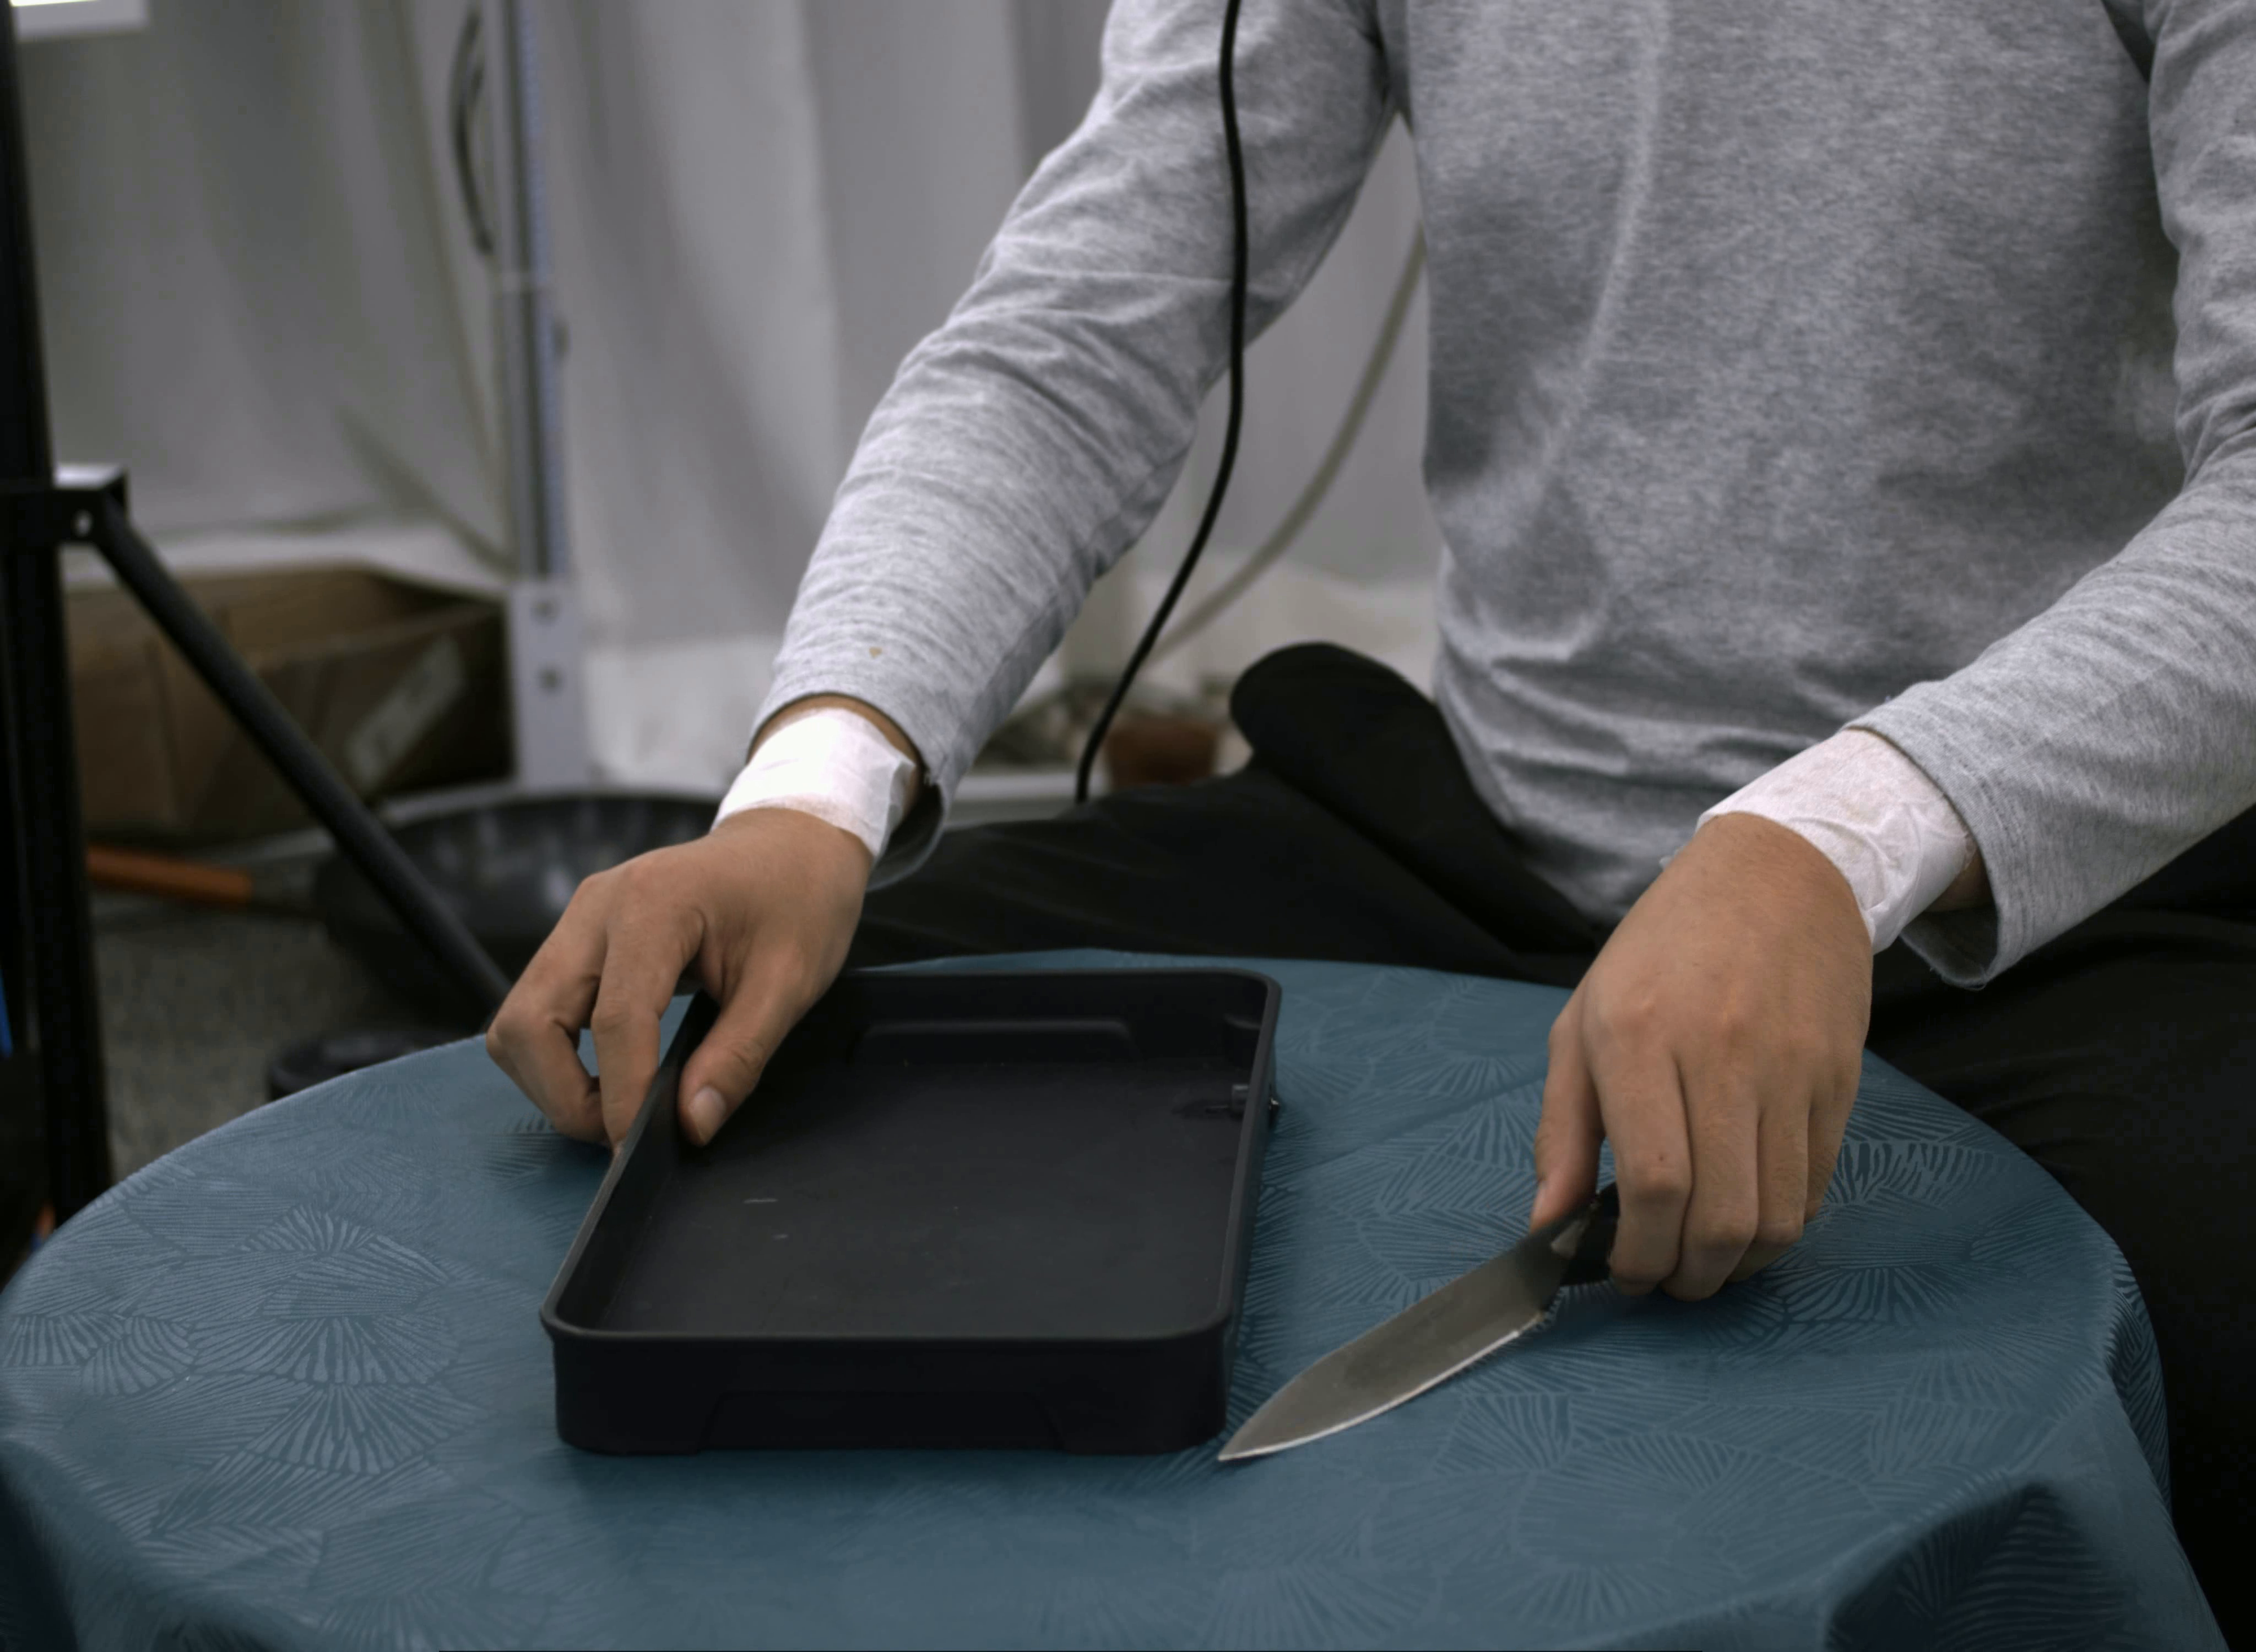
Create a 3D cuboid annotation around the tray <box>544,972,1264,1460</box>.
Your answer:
[{"bbox_3d":[-0.055,0.105,1.514,0.184,0.037,0.318,-1,15,4],"label":"tray"}]

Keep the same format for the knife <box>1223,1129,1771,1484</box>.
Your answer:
[{"bbox_3d":[0.100,0.128,1.429,0.233,0.016,0.025,-25,66,-43],"label":"knife"}]
